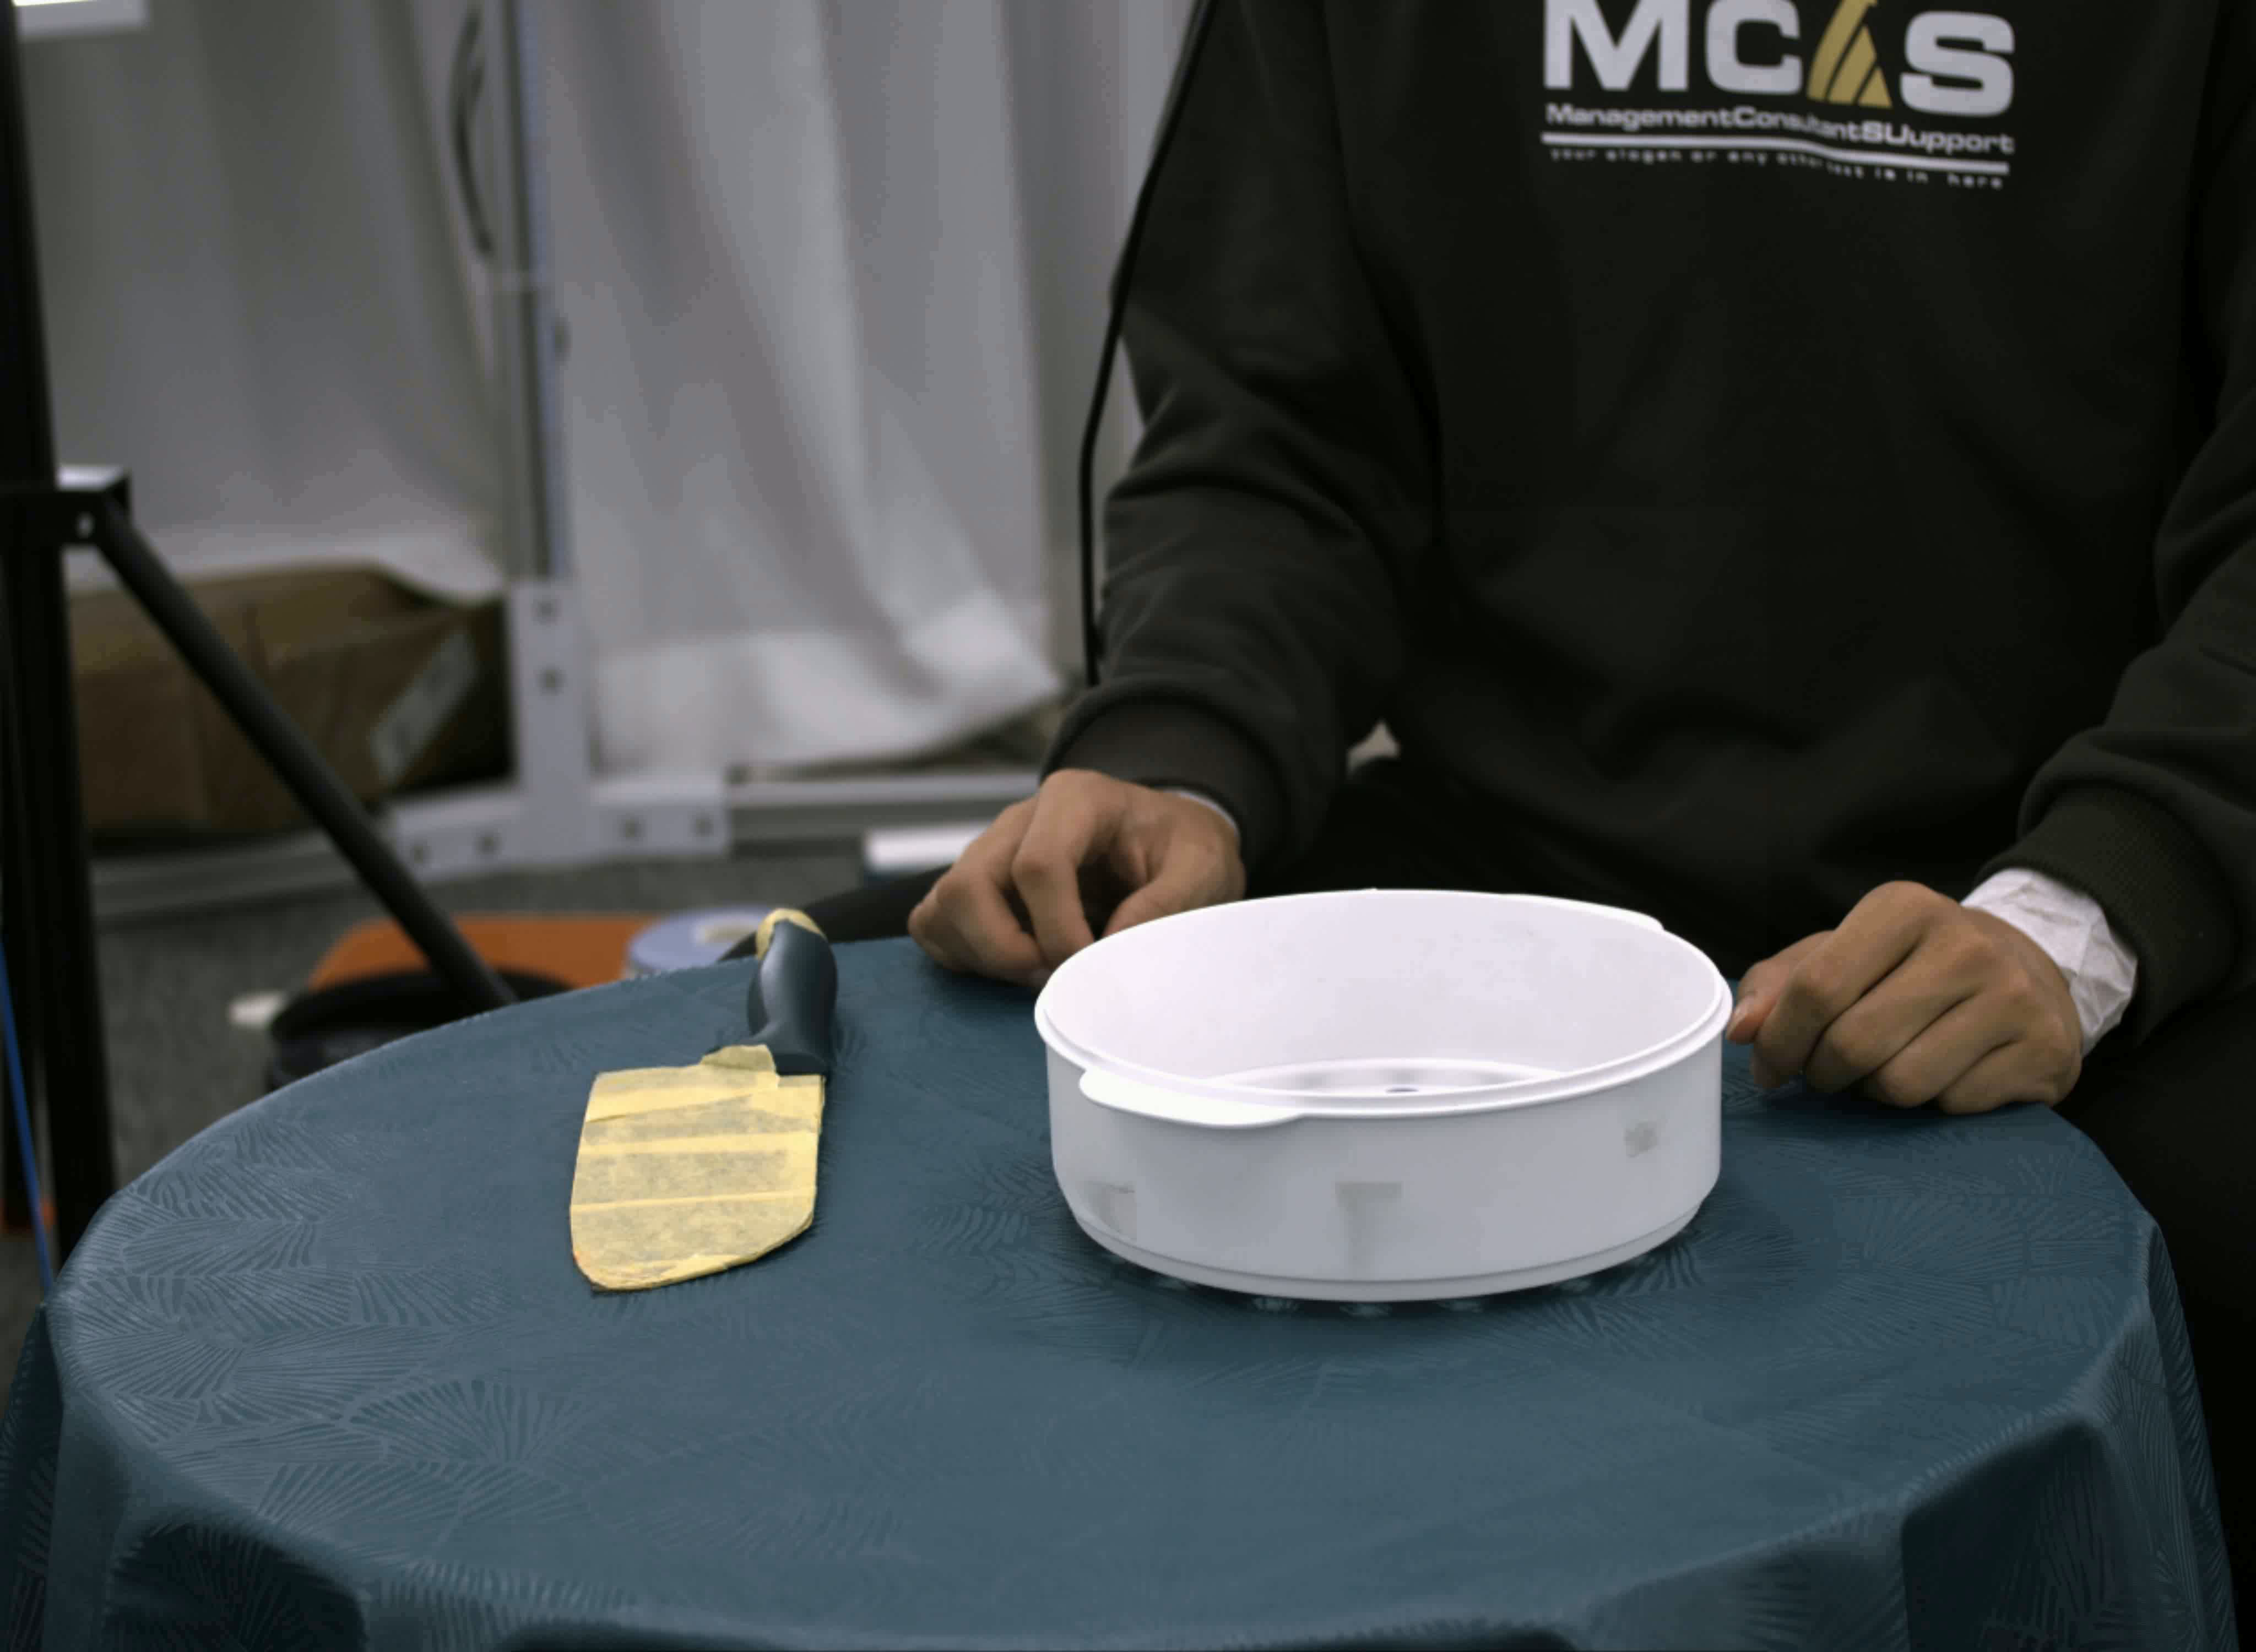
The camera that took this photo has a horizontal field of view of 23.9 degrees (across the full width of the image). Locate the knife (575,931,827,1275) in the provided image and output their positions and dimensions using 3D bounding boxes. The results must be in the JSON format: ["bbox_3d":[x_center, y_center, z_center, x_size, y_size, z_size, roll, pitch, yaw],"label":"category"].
[{"bbox_3d":[-0.128,0.085,1.637,0.081,0.027,0.290,0,17,2],"label":"knife"}]

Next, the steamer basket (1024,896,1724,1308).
[{"bbox_3d":[0.070,0.080,1.529,0.206,0.069,0.225,11,19,36],"label":"steamer basket"}]
